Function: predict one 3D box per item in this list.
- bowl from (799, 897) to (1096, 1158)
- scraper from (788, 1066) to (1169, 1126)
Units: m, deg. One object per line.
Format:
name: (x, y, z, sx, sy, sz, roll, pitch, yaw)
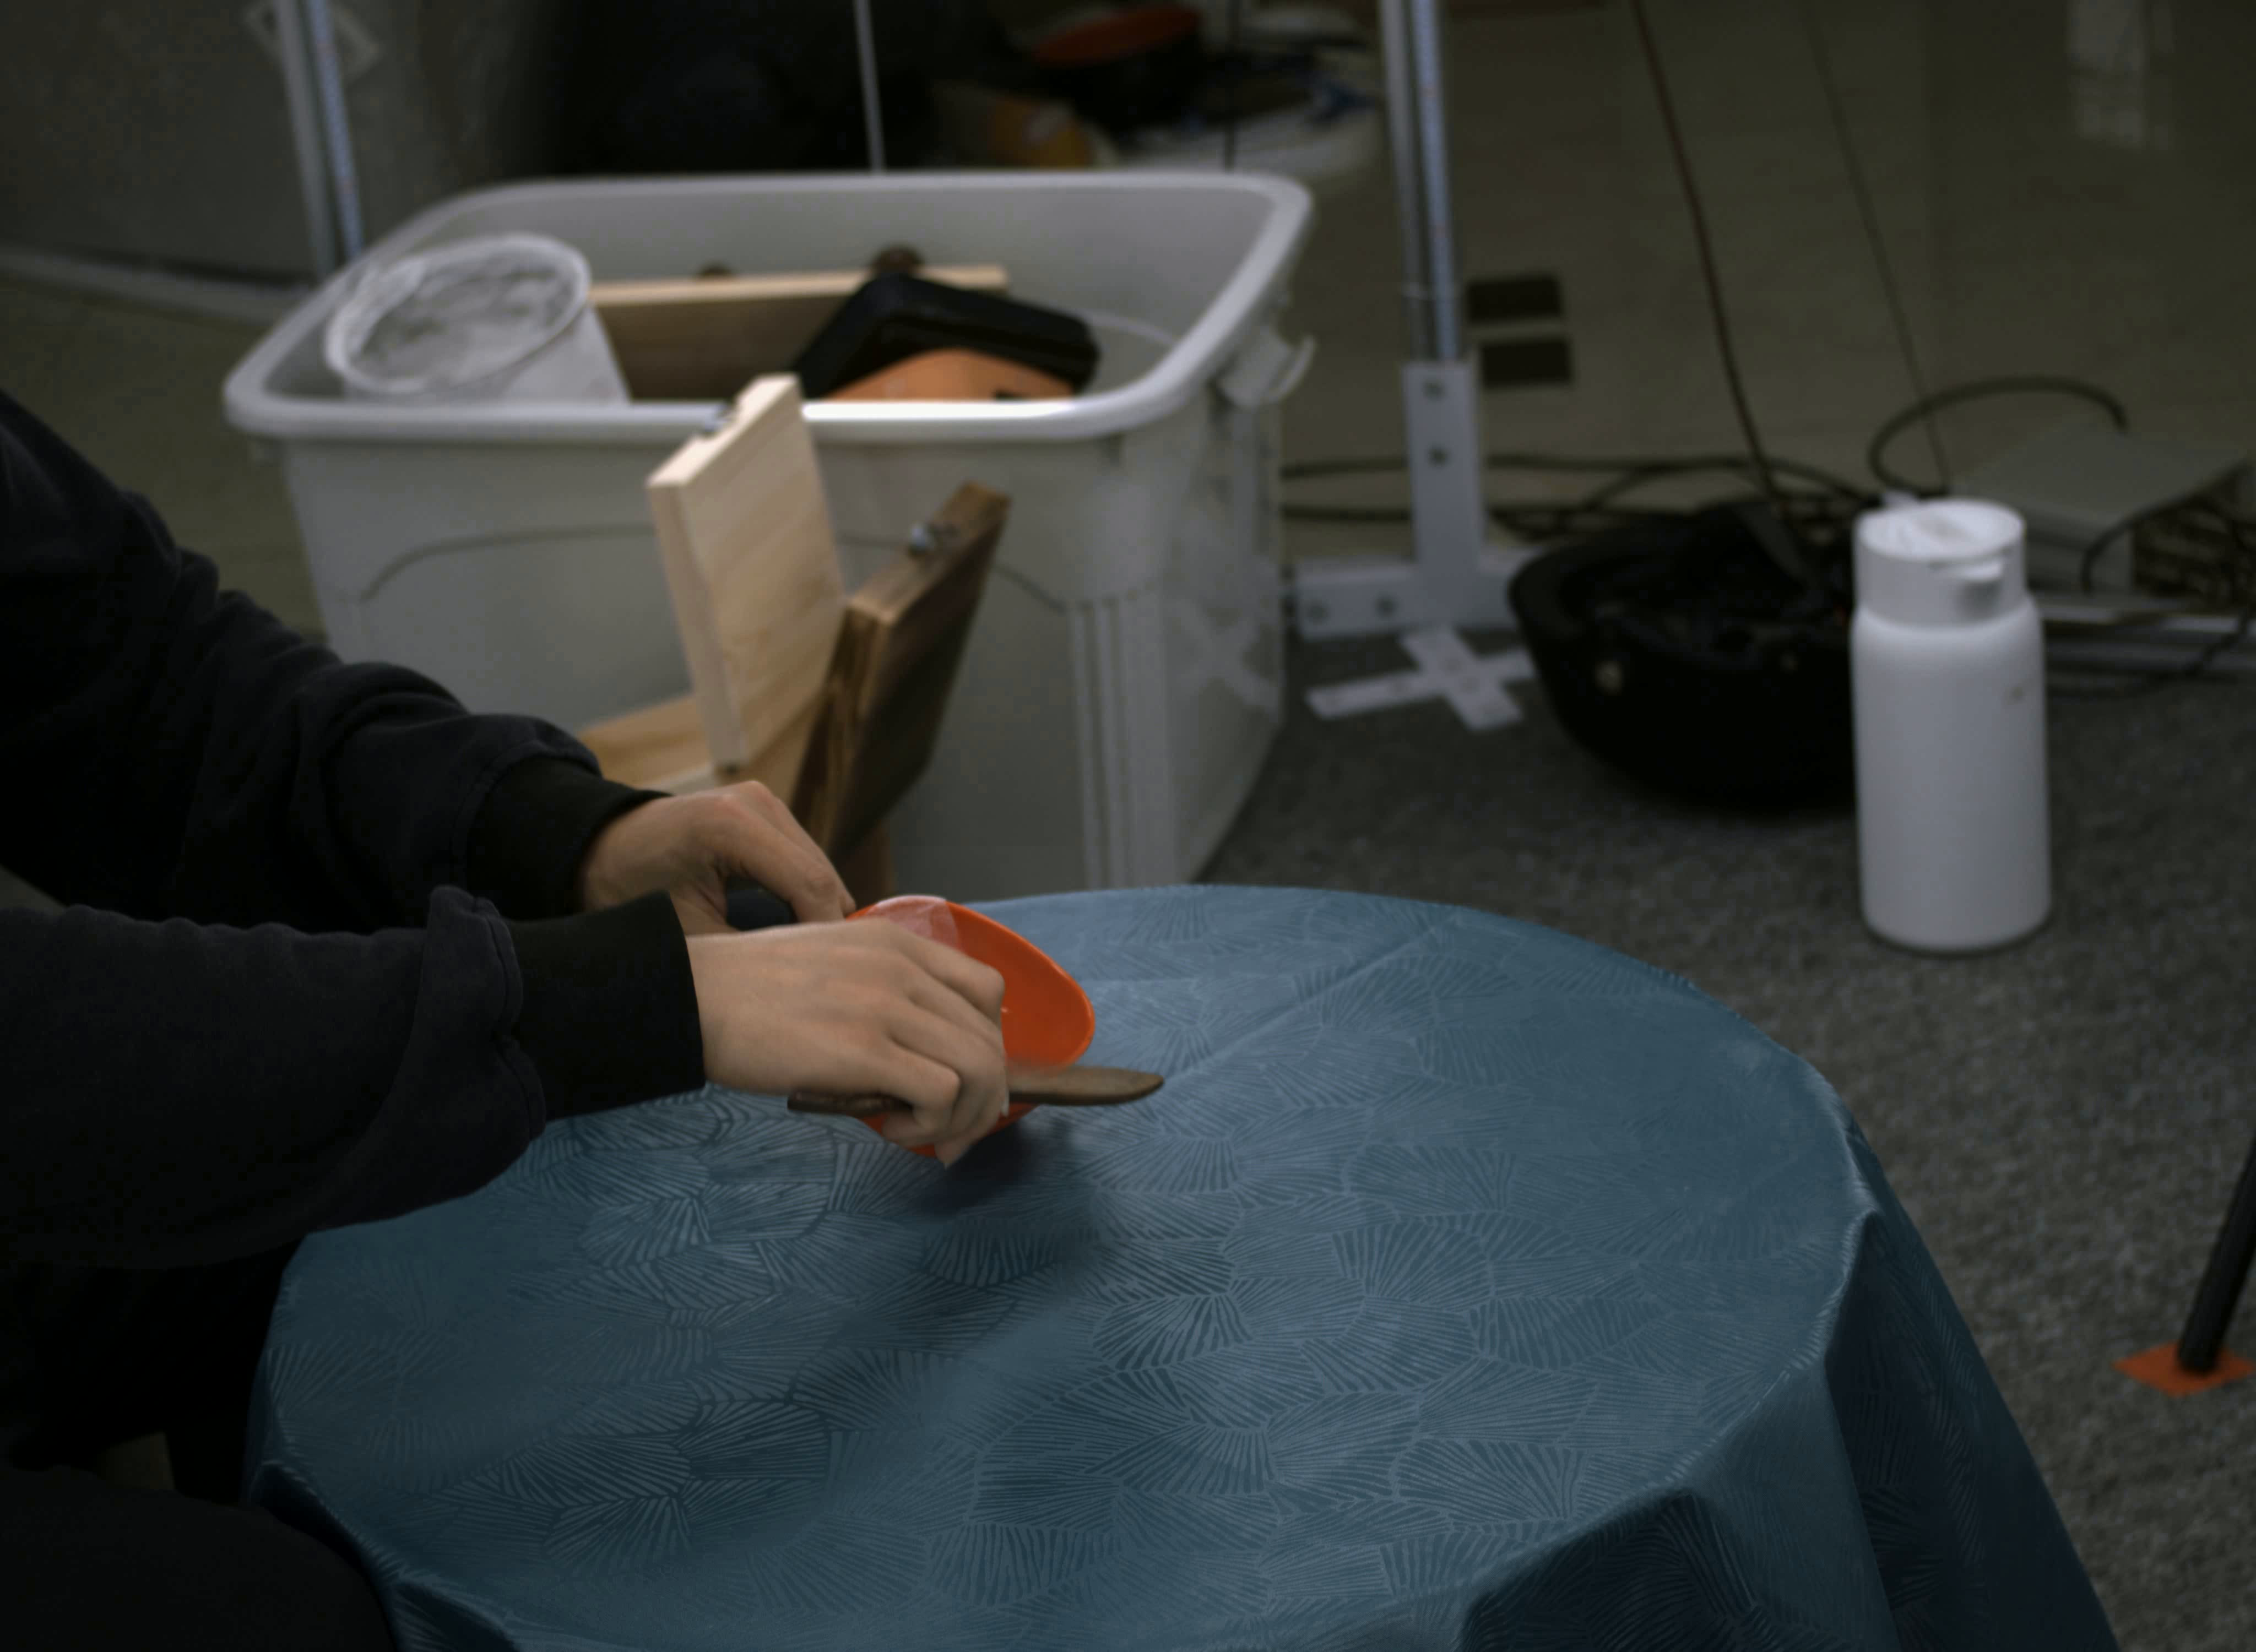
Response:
bowl: (-0.076, 0.085, 2.198, 0.119, 0.052, 0.117, 14, 37, -11)
scraper: (-0.060, 0.099, 2.030, 0.075, 0.011, 0.211, 5, 3, 26)
